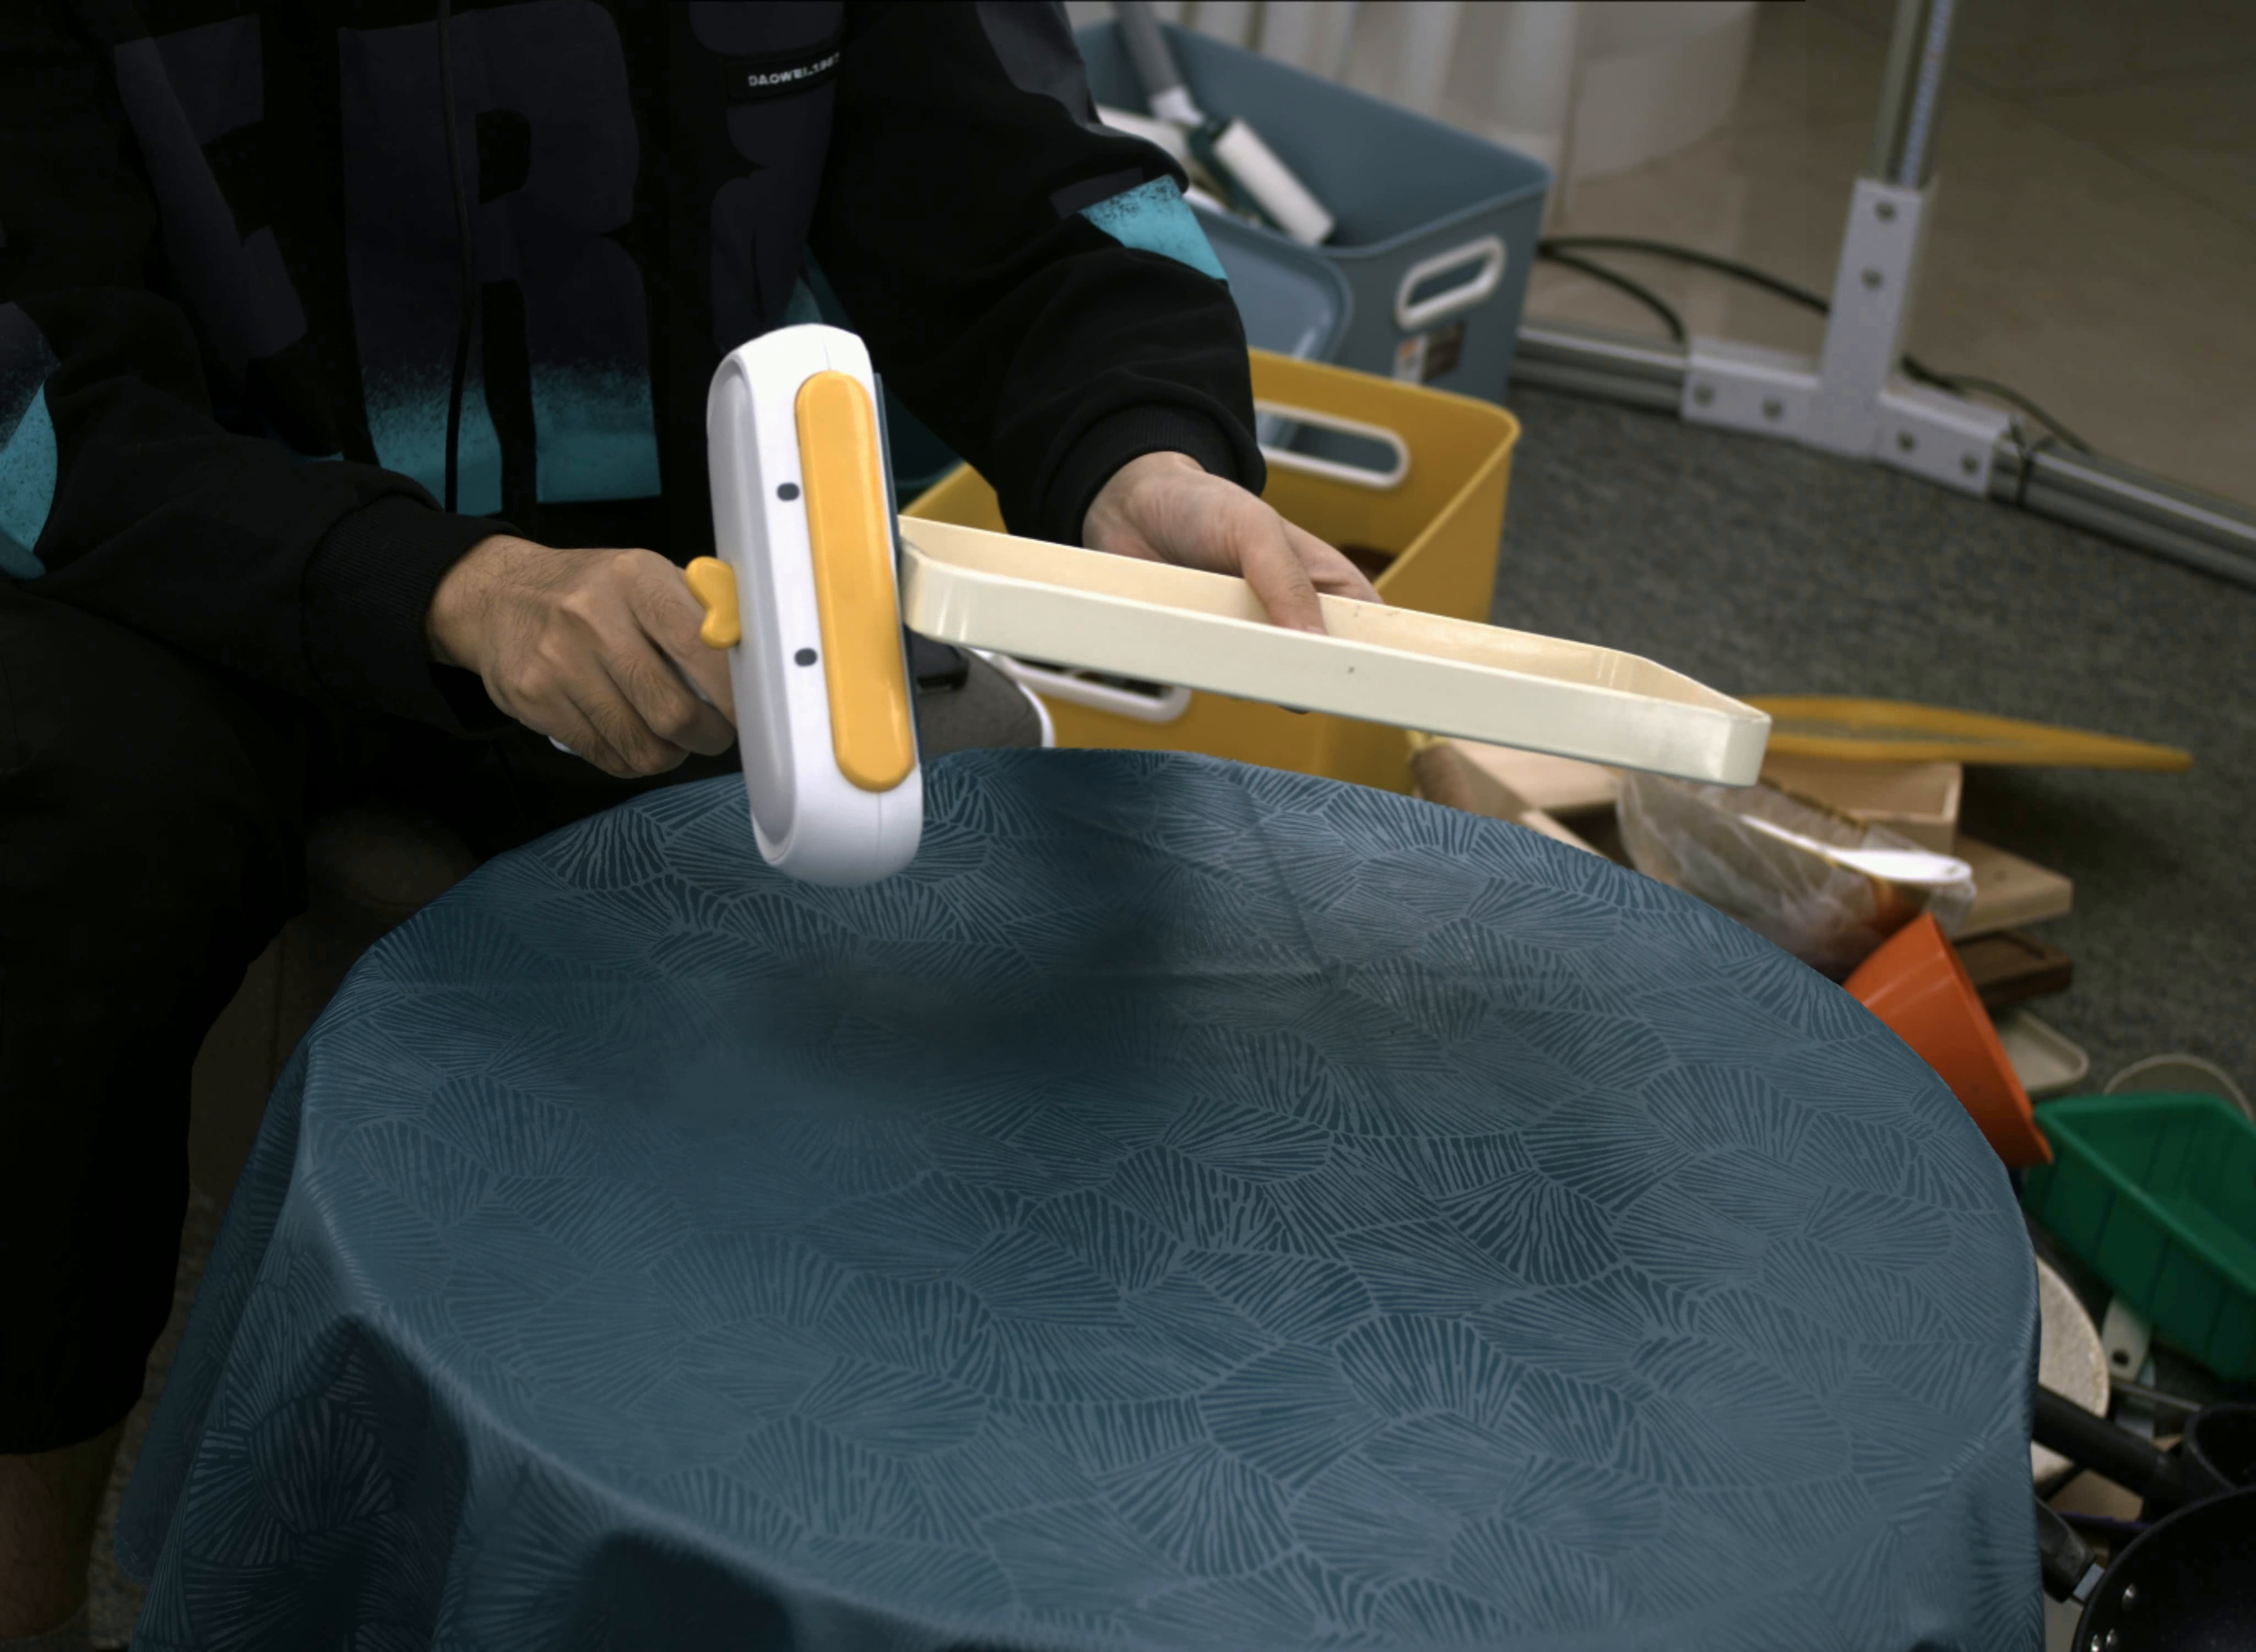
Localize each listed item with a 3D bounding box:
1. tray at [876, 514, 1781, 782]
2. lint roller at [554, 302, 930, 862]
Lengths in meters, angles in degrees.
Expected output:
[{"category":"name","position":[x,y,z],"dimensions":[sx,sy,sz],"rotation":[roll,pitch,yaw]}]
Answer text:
[{"category":"tray","position":[0.062,-0.063,1.858],"dimensions":[0.299,0.027,0.192],"rotation":[10,6,-11]},{"category":"lint roller","position":[-0.139,-0.064,1.847],"dimensions":[0.073,0.194,0.192],"rotation":[-5,-16,-30]}]
